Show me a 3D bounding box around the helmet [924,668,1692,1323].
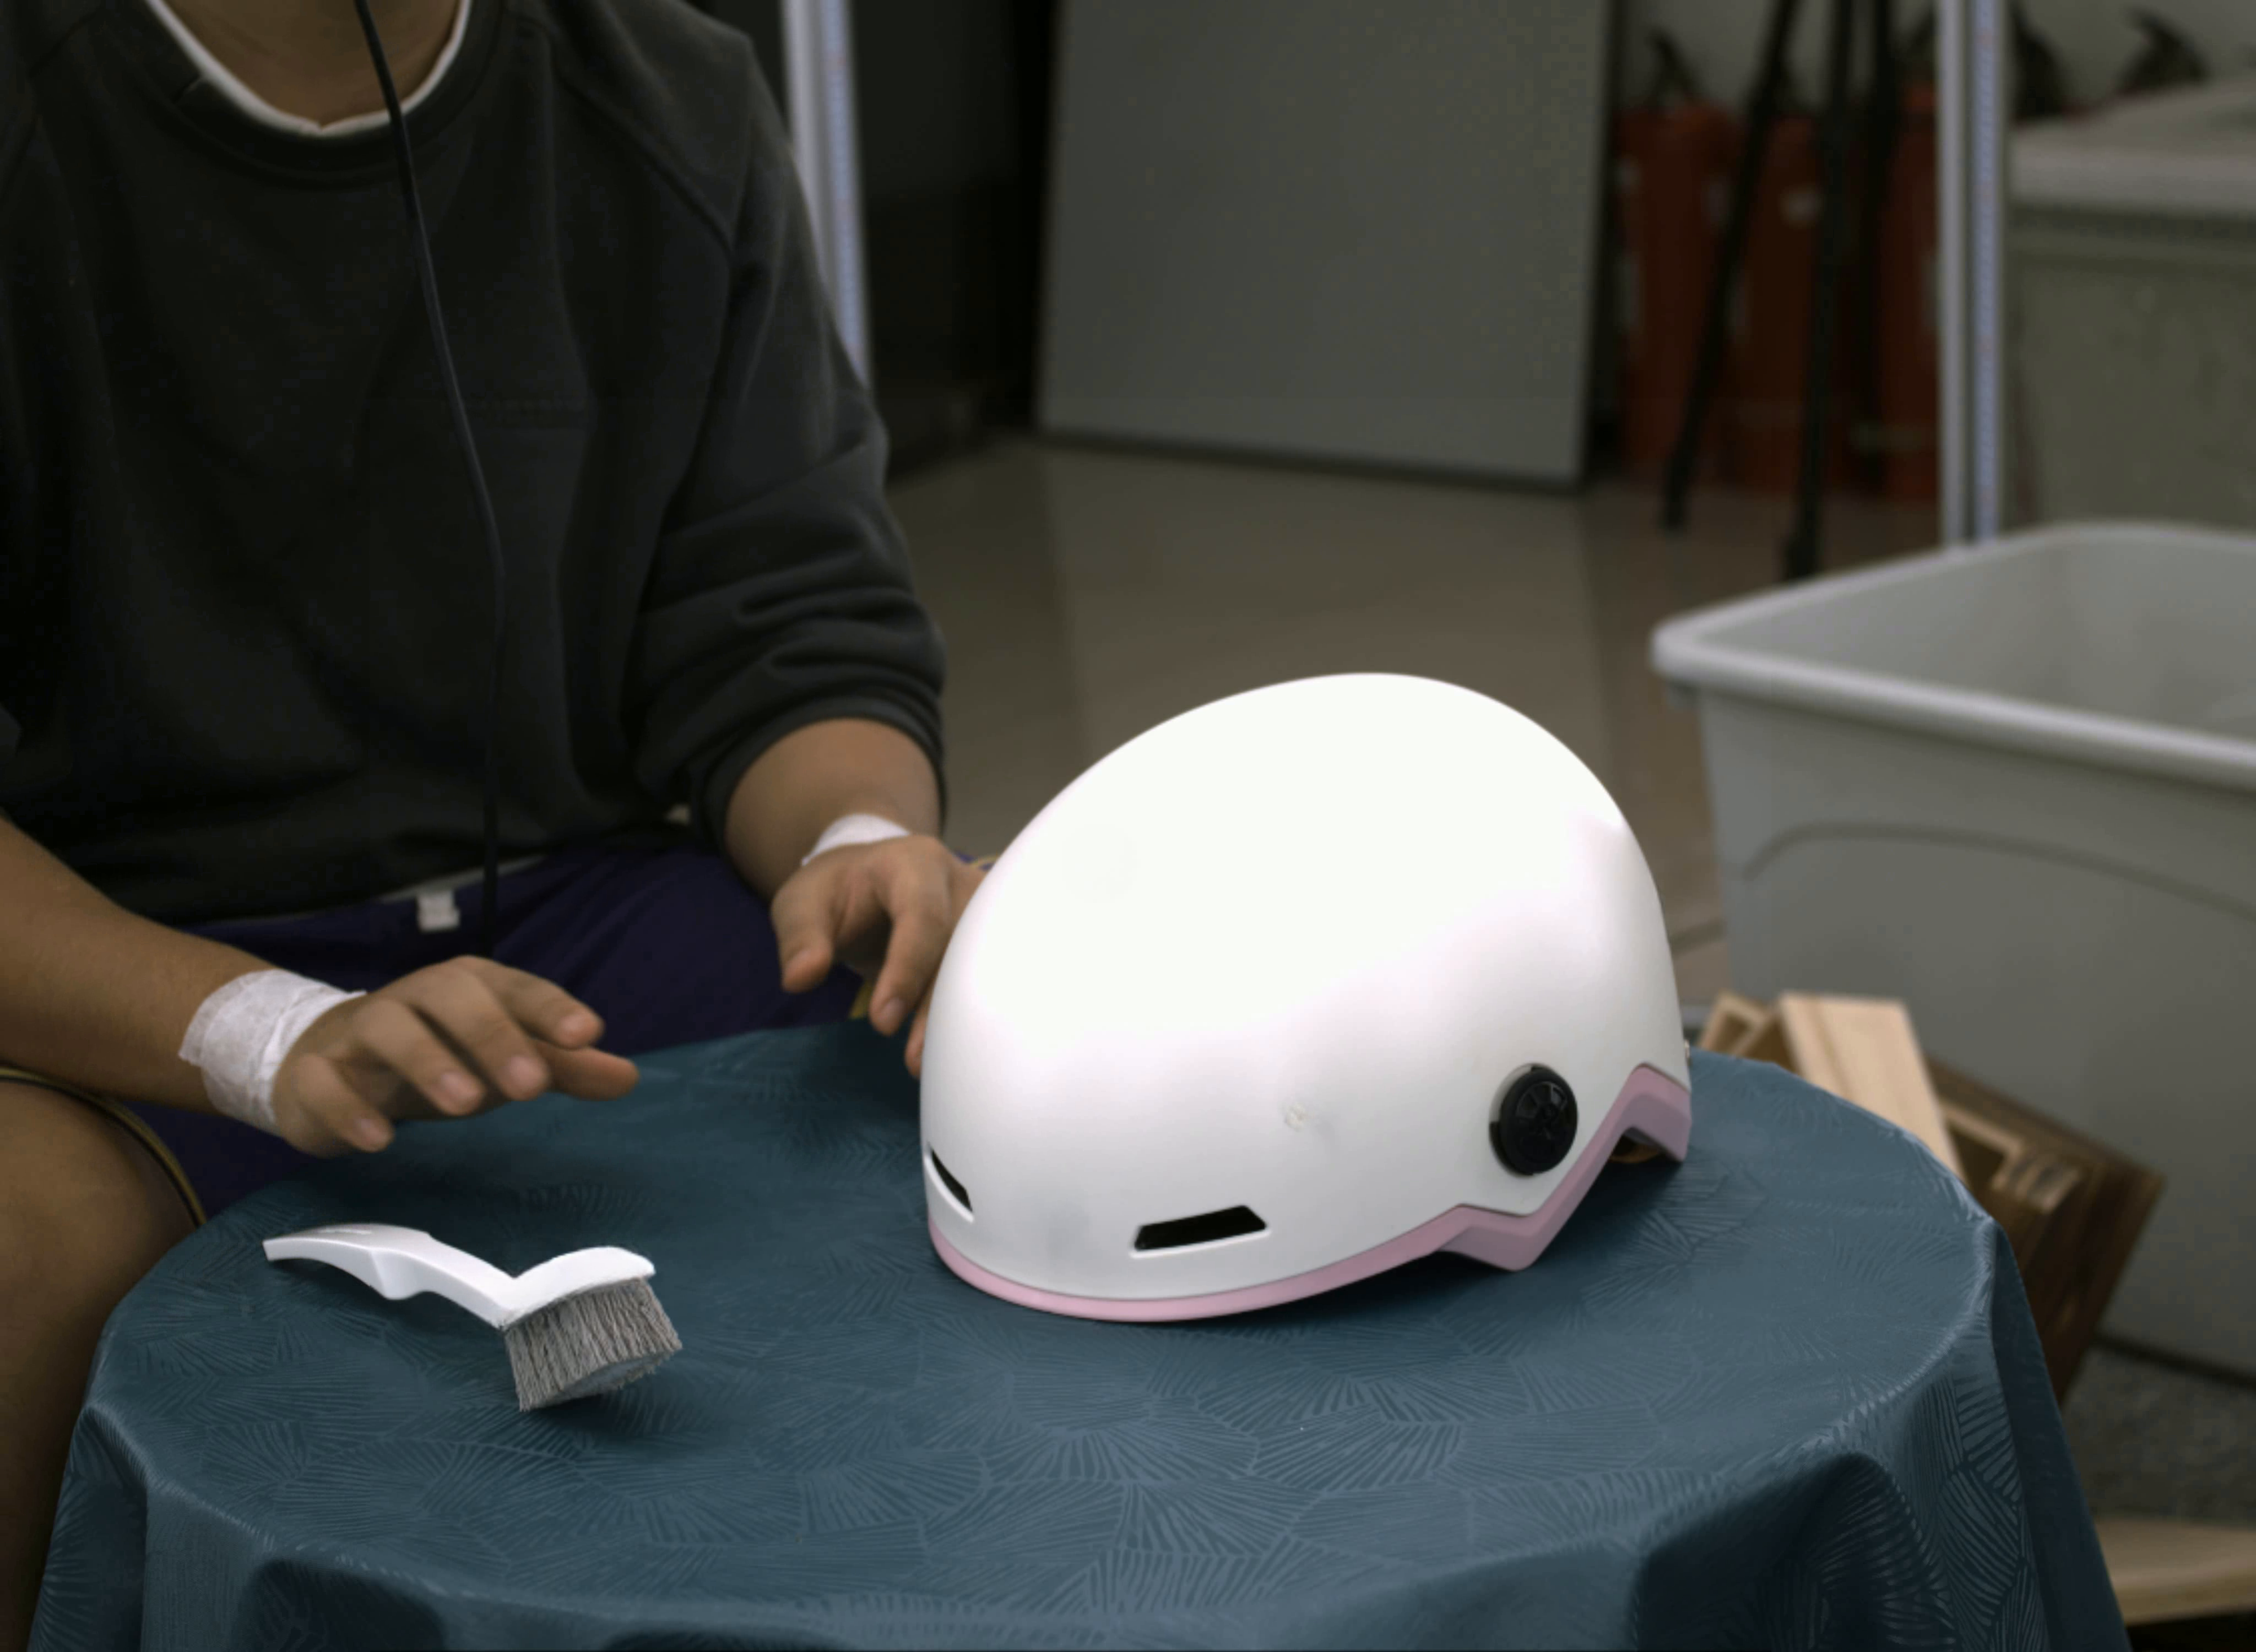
[{"bbox_3d":[0.055,0.042,1.731,0.239,0.169,0.263,9,19,42],"label":"helmet"}]

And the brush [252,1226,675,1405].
[{"bbox_3d":[-0.207,0.151,1.660,0.033,0.051,0.246,-12,2,-33],"label":"brush"}]
